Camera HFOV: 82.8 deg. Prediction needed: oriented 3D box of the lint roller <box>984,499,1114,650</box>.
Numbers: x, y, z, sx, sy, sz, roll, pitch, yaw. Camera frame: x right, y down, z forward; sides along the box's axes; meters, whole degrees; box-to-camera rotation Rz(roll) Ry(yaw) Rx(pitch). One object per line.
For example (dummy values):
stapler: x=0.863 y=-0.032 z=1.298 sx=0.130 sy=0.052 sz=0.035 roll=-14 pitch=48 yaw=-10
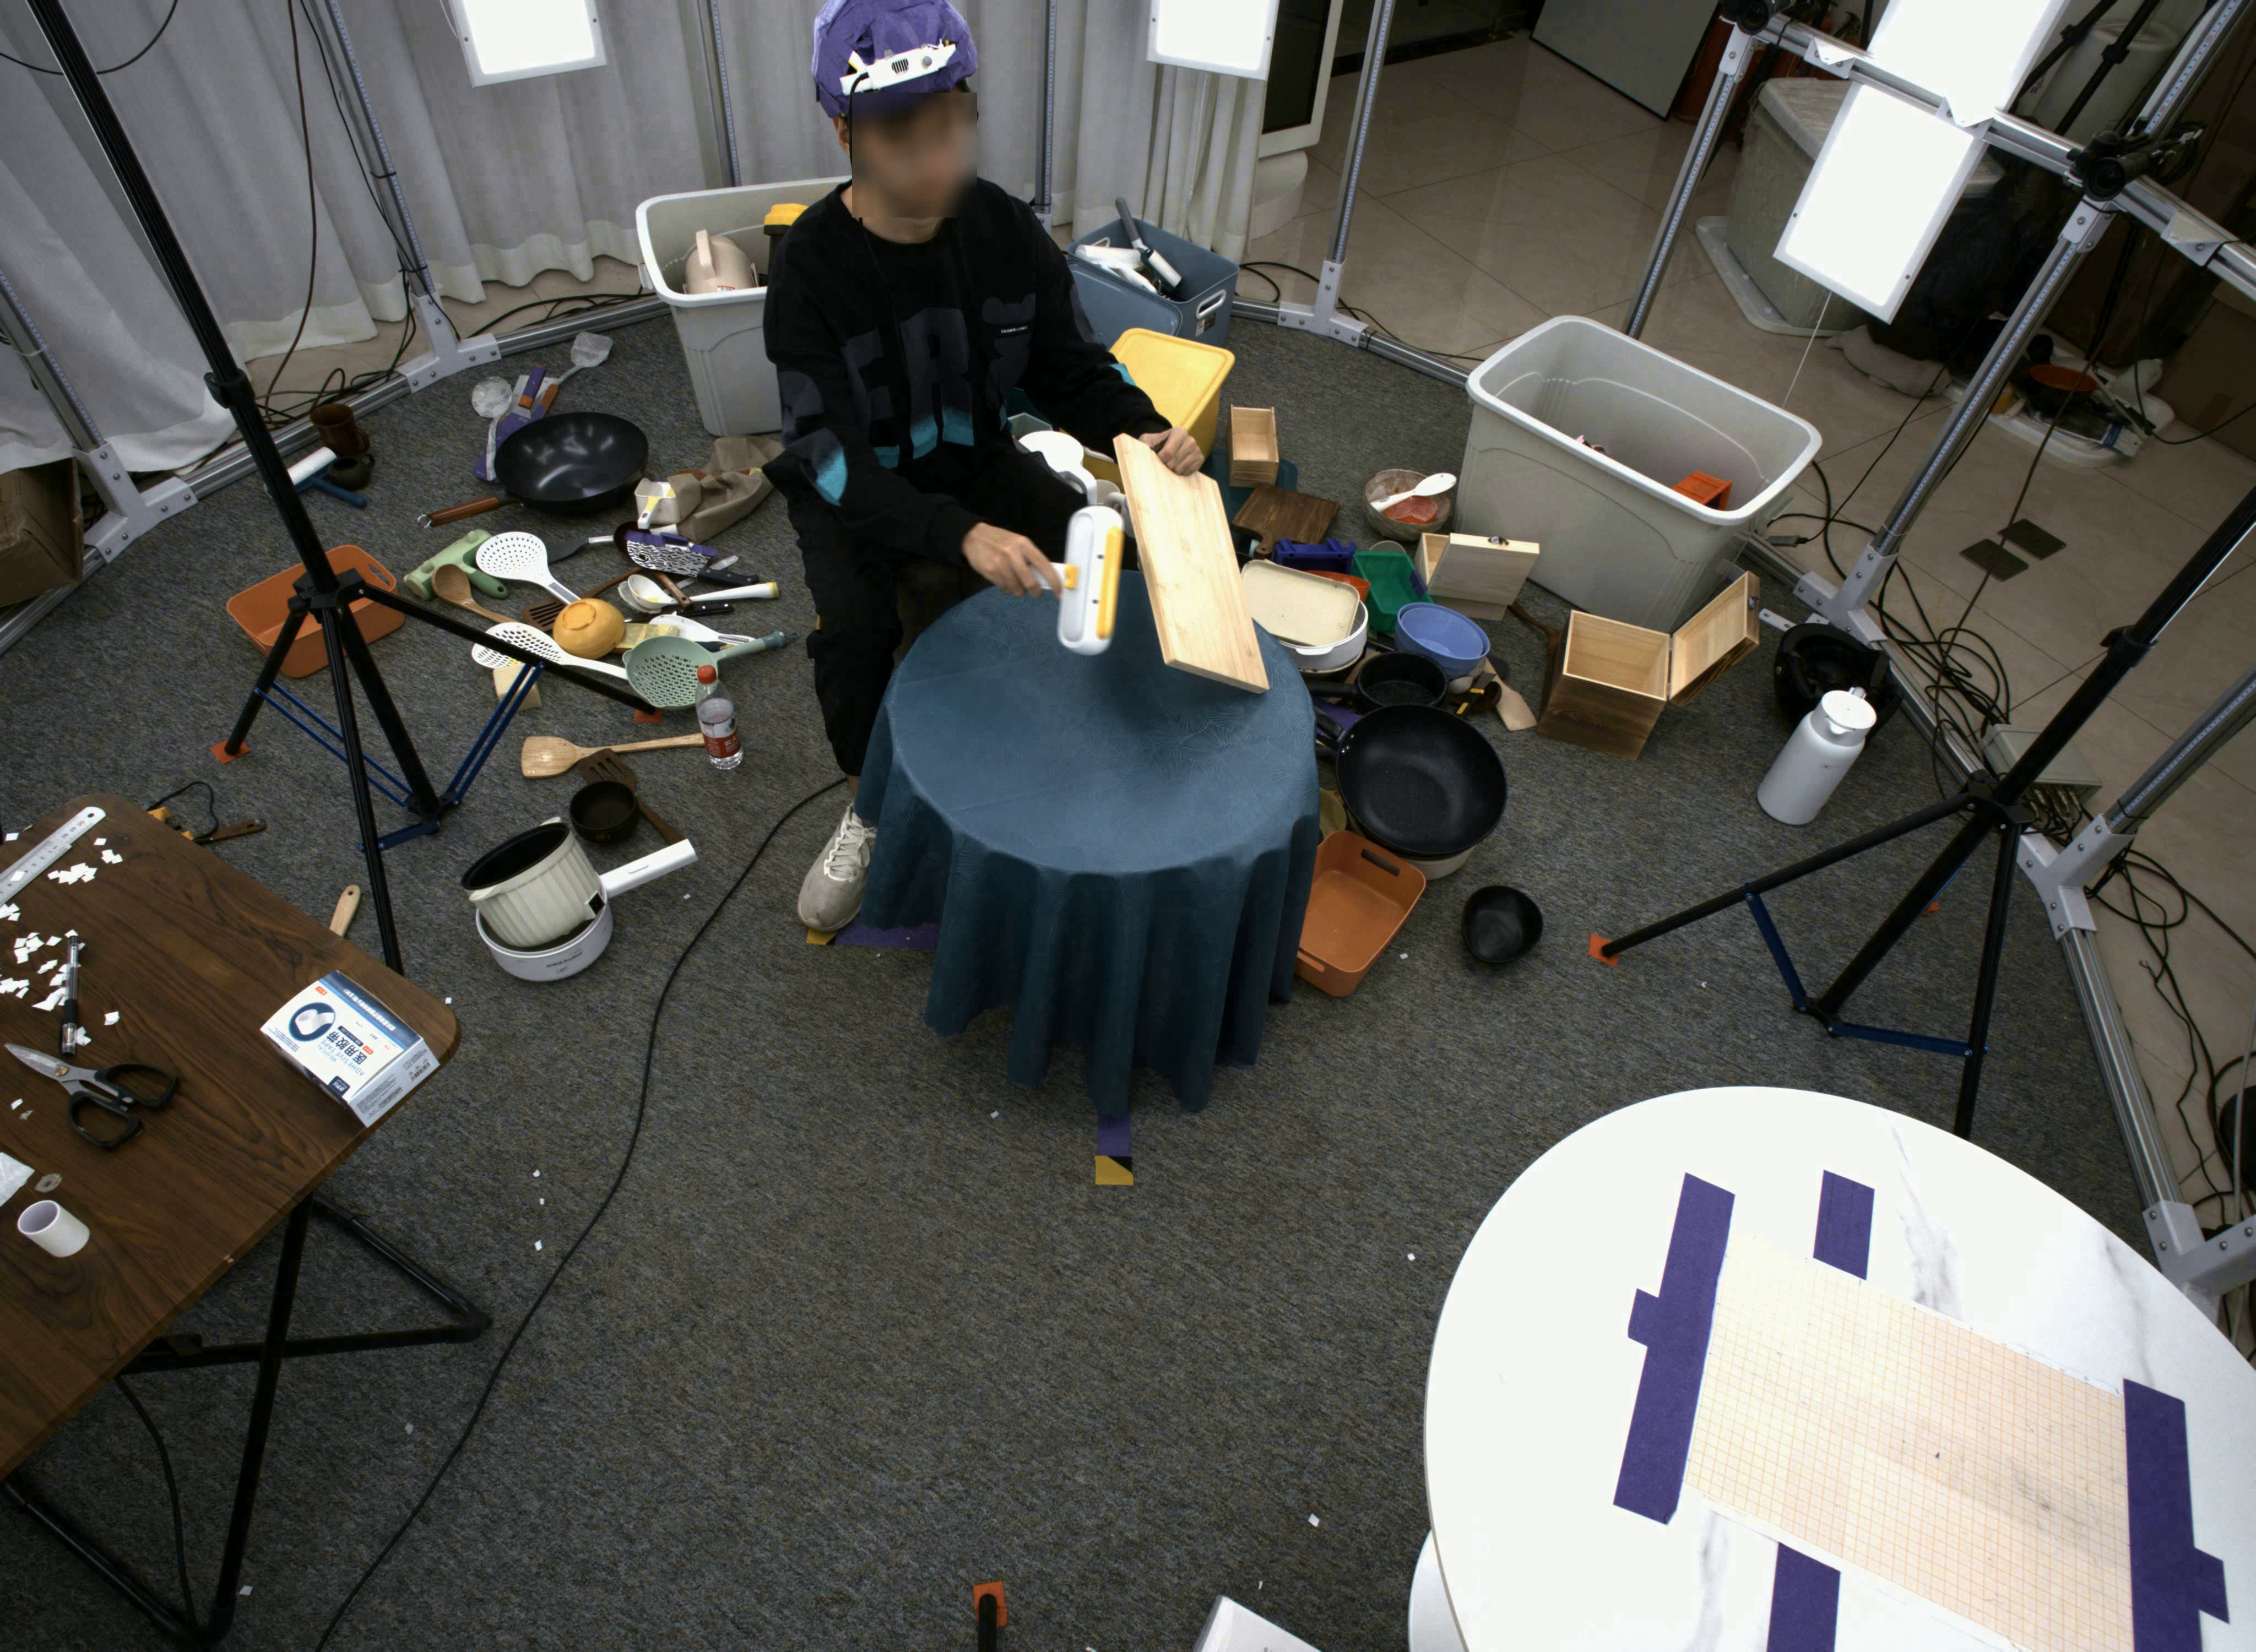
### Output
lint roller: x=-0.104 y=-0.332 z=1.702 sx=0.194 sy=0.191 sz=0.074 roll=8 pitch=11 yaw=39

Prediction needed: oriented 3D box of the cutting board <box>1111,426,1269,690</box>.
cutting board: x=0.089 y=-0.369 z=1.802 sx=0.248 sy=0.023 sz=0.353 roll=9 pitch=64 yaw=-52
